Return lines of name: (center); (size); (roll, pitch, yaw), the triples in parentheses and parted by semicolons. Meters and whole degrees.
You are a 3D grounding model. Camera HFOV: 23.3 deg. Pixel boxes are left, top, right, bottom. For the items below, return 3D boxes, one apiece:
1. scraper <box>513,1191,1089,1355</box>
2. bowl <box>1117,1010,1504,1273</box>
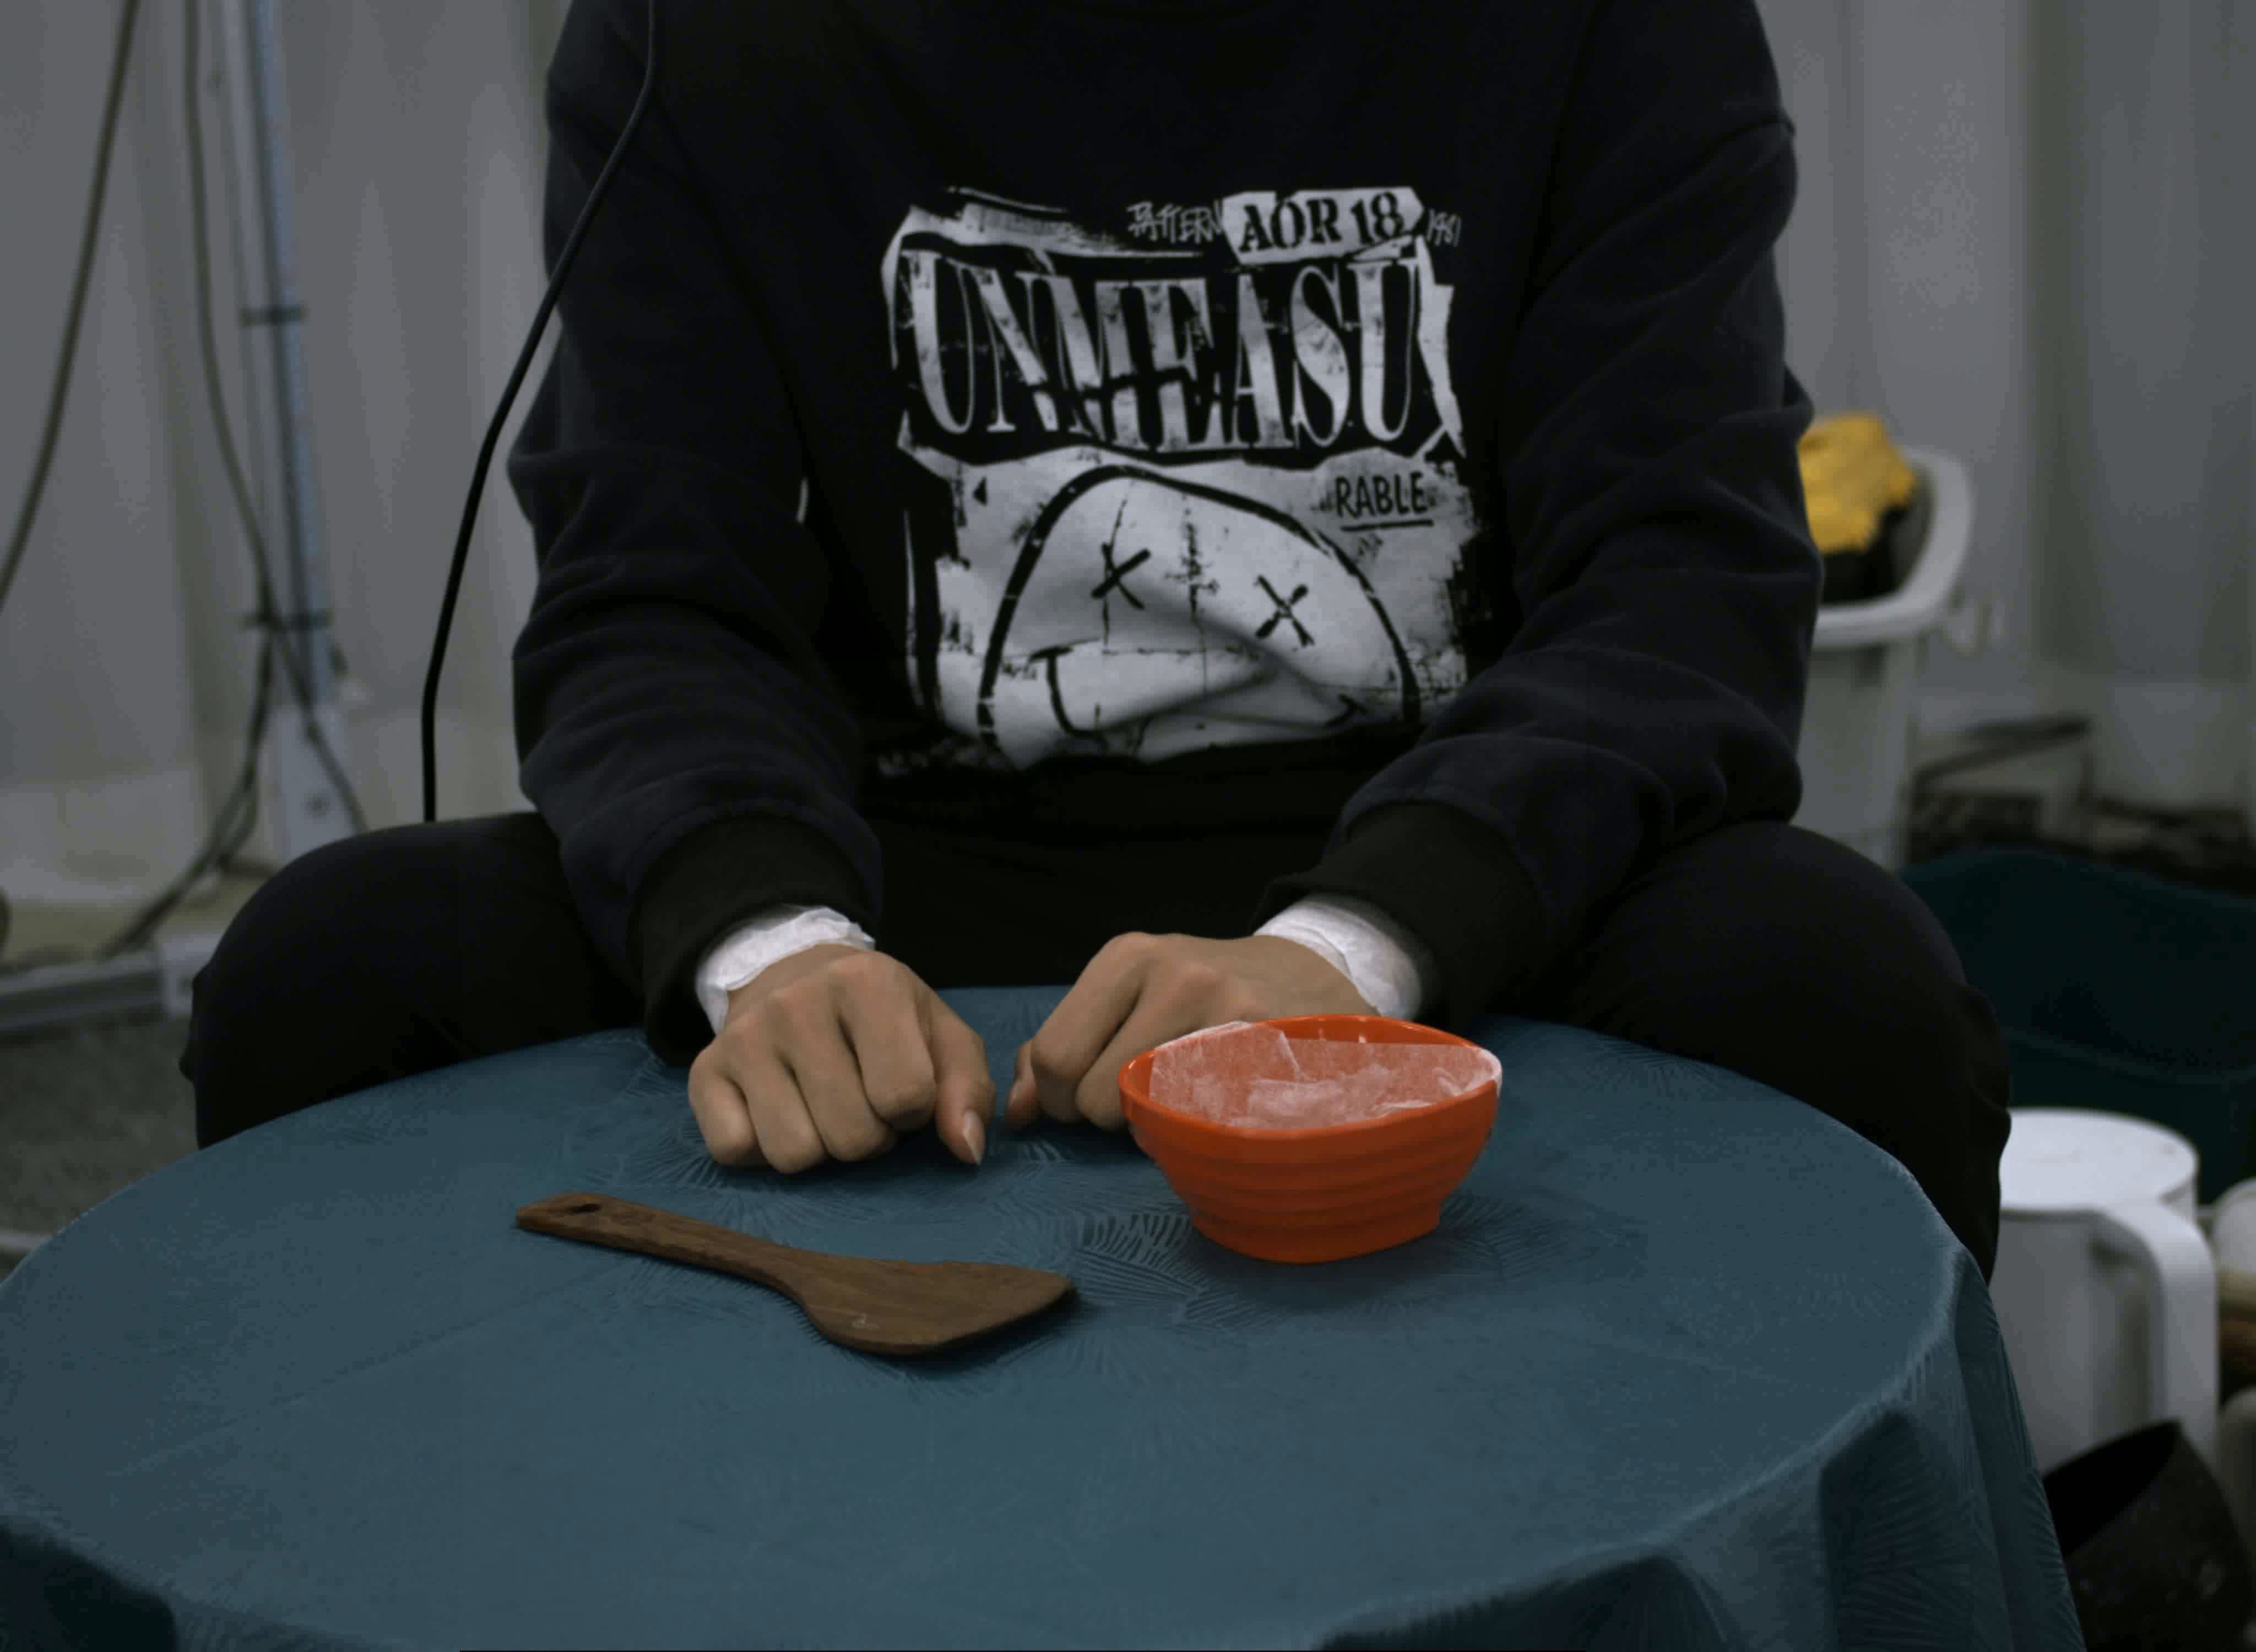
scraper: (-0.107, 0.133, 1.653); (0.212, 0.011, 0.075); (9, 18, 41)
bowl: (0.057, 0.098, 1.669); (0.118, 0.051, 0.120); (-4, 17, 1)
